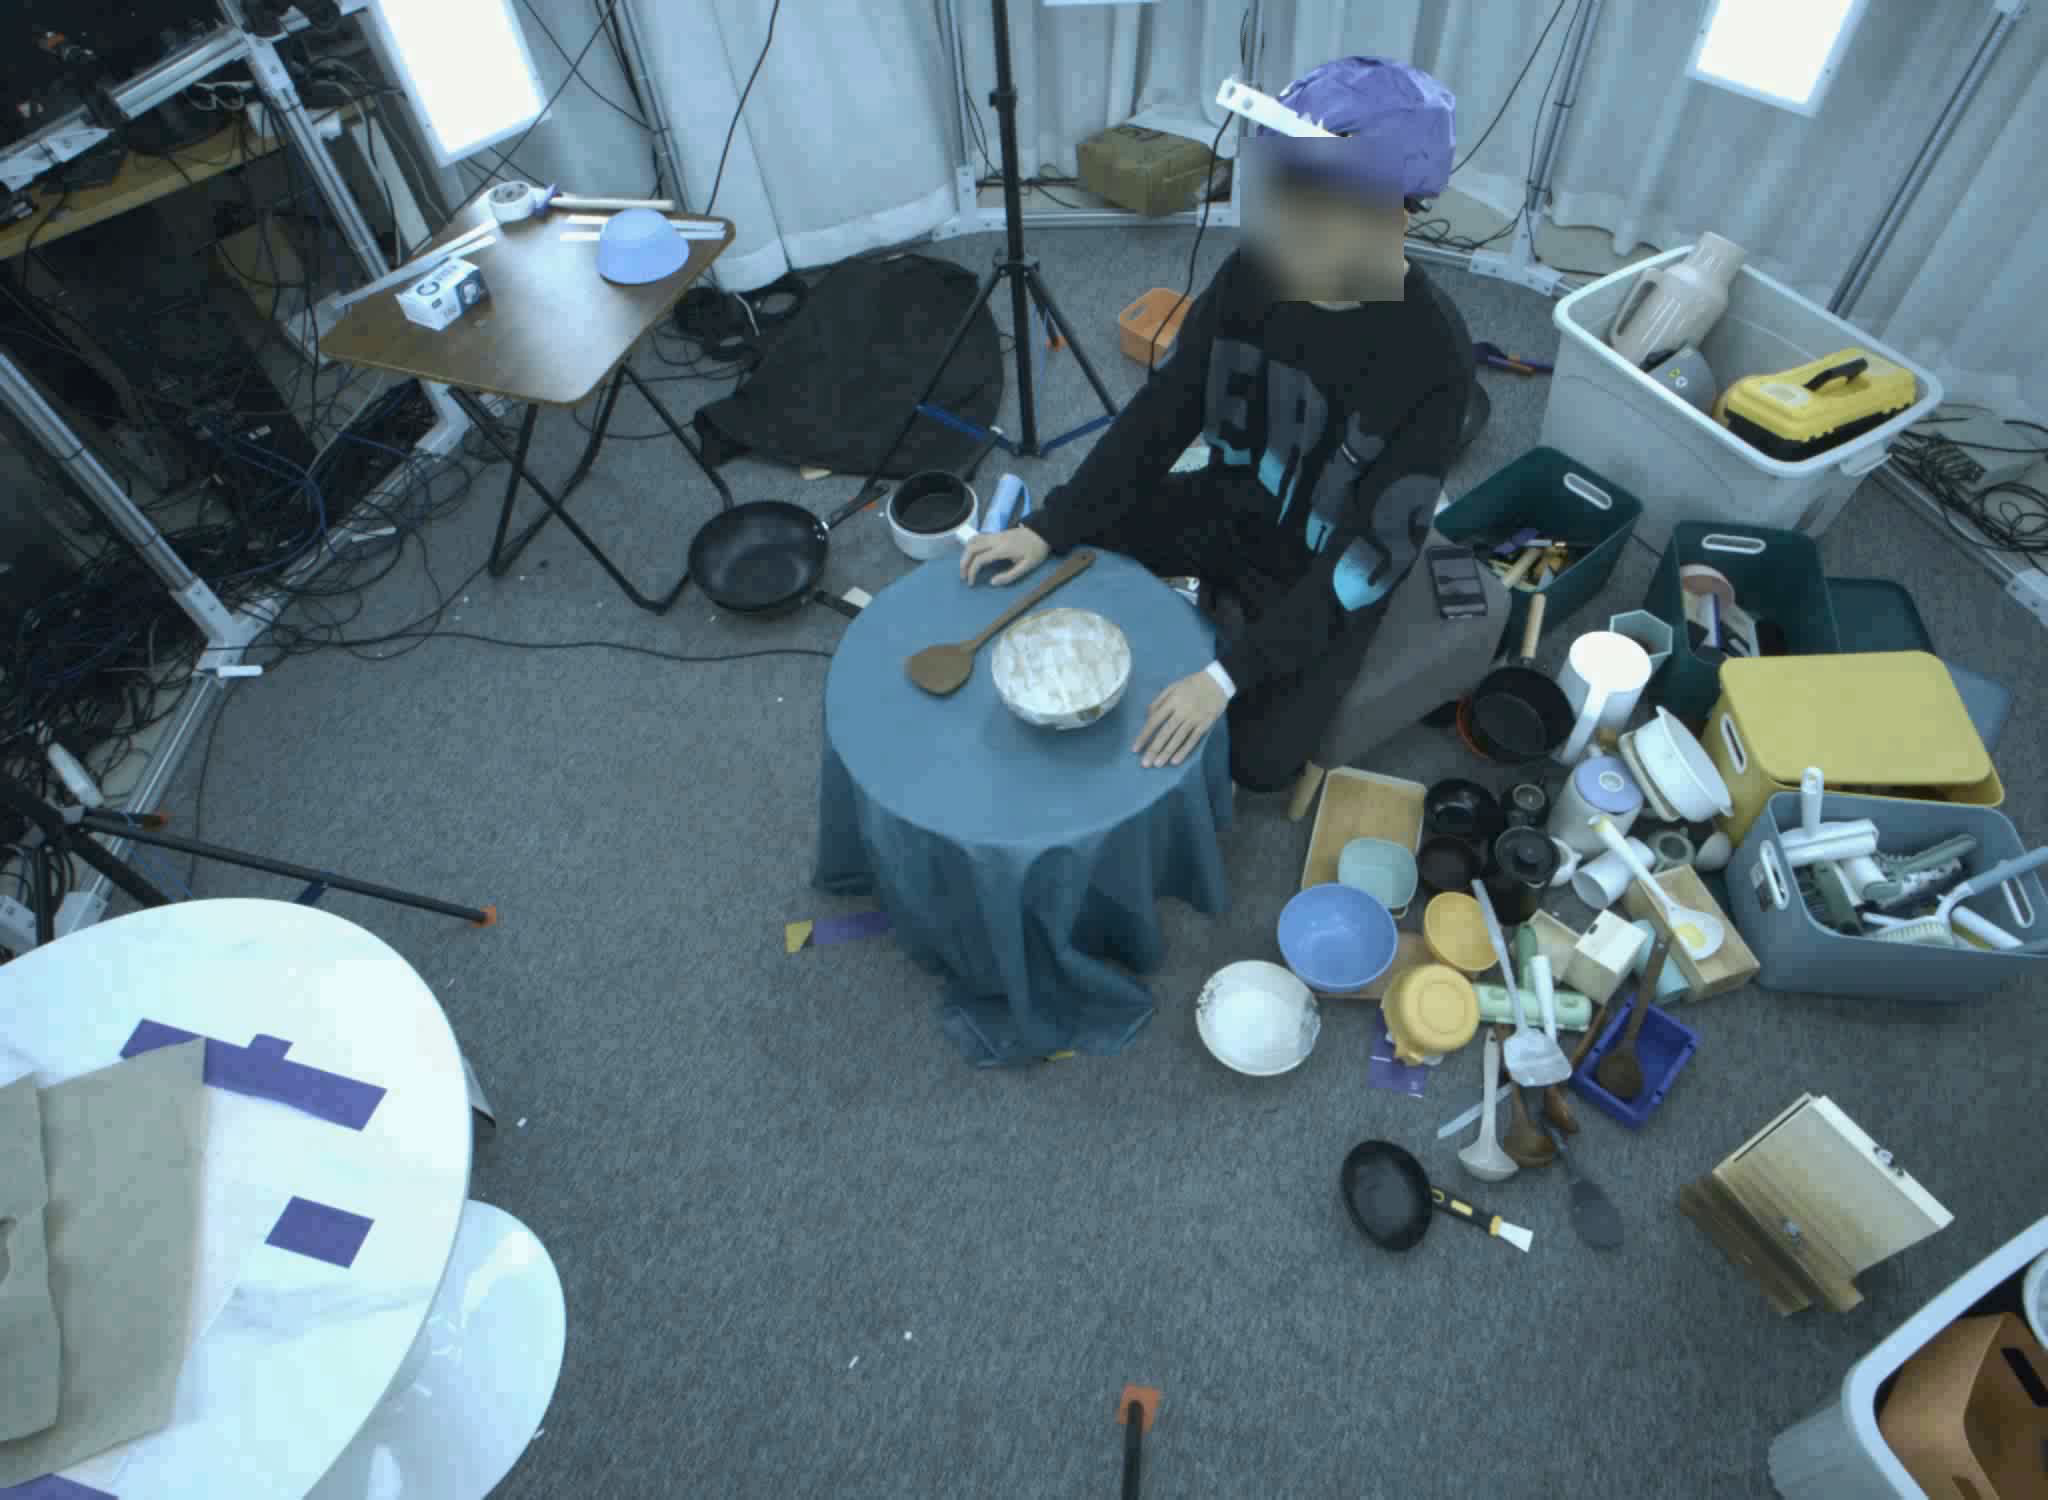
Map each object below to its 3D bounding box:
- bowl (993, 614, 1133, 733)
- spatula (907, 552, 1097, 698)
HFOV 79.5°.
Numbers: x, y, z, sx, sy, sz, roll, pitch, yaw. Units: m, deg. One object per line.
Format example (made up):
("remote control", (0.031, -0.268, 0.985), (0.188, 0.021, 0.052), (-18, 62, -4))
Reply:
("bowl", (0.062, -0.100, 1.809), (0.214, 0.095, 0.212), (0, 53, 2))
("spatula", (-0.022, -0.209, 1.937), (0.094, 0.016, 0.388), (38, 64, 24))
